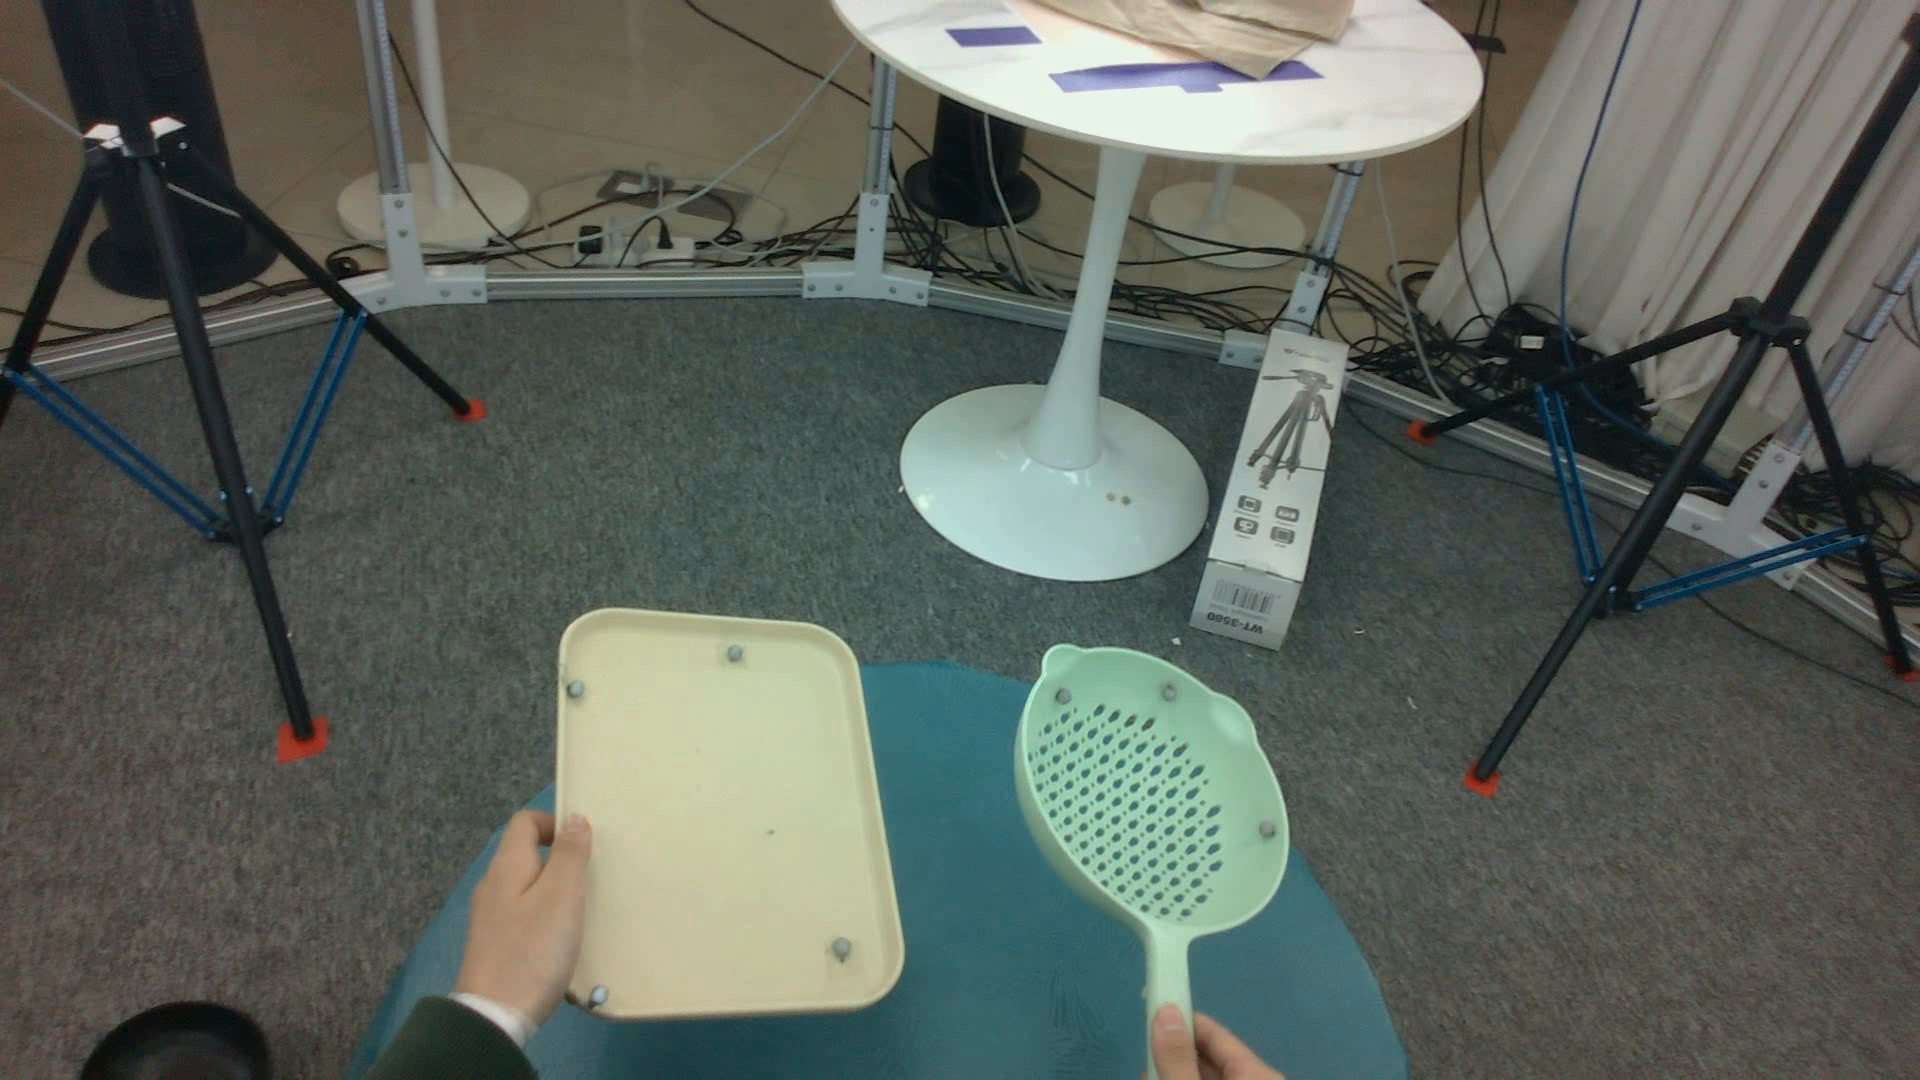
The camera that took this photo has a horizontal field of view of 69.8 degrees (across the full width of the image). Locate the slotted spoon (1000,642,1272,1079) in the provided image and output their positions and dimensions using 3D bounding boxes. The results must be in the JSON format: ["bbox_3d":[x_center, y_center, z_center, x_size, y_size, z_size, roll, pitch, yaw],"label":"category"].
[{"bbox_3d":[0.093,0.208,0.697,0.169,0.075,0.360,19,37,-17],"label":"slotted spoon"}]

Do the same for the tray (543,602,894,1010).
[{"bbox_3d":[-0.132,0.132,0.725,0.171,0.017,0.240,5,45,-22],"label":"tray"}]
